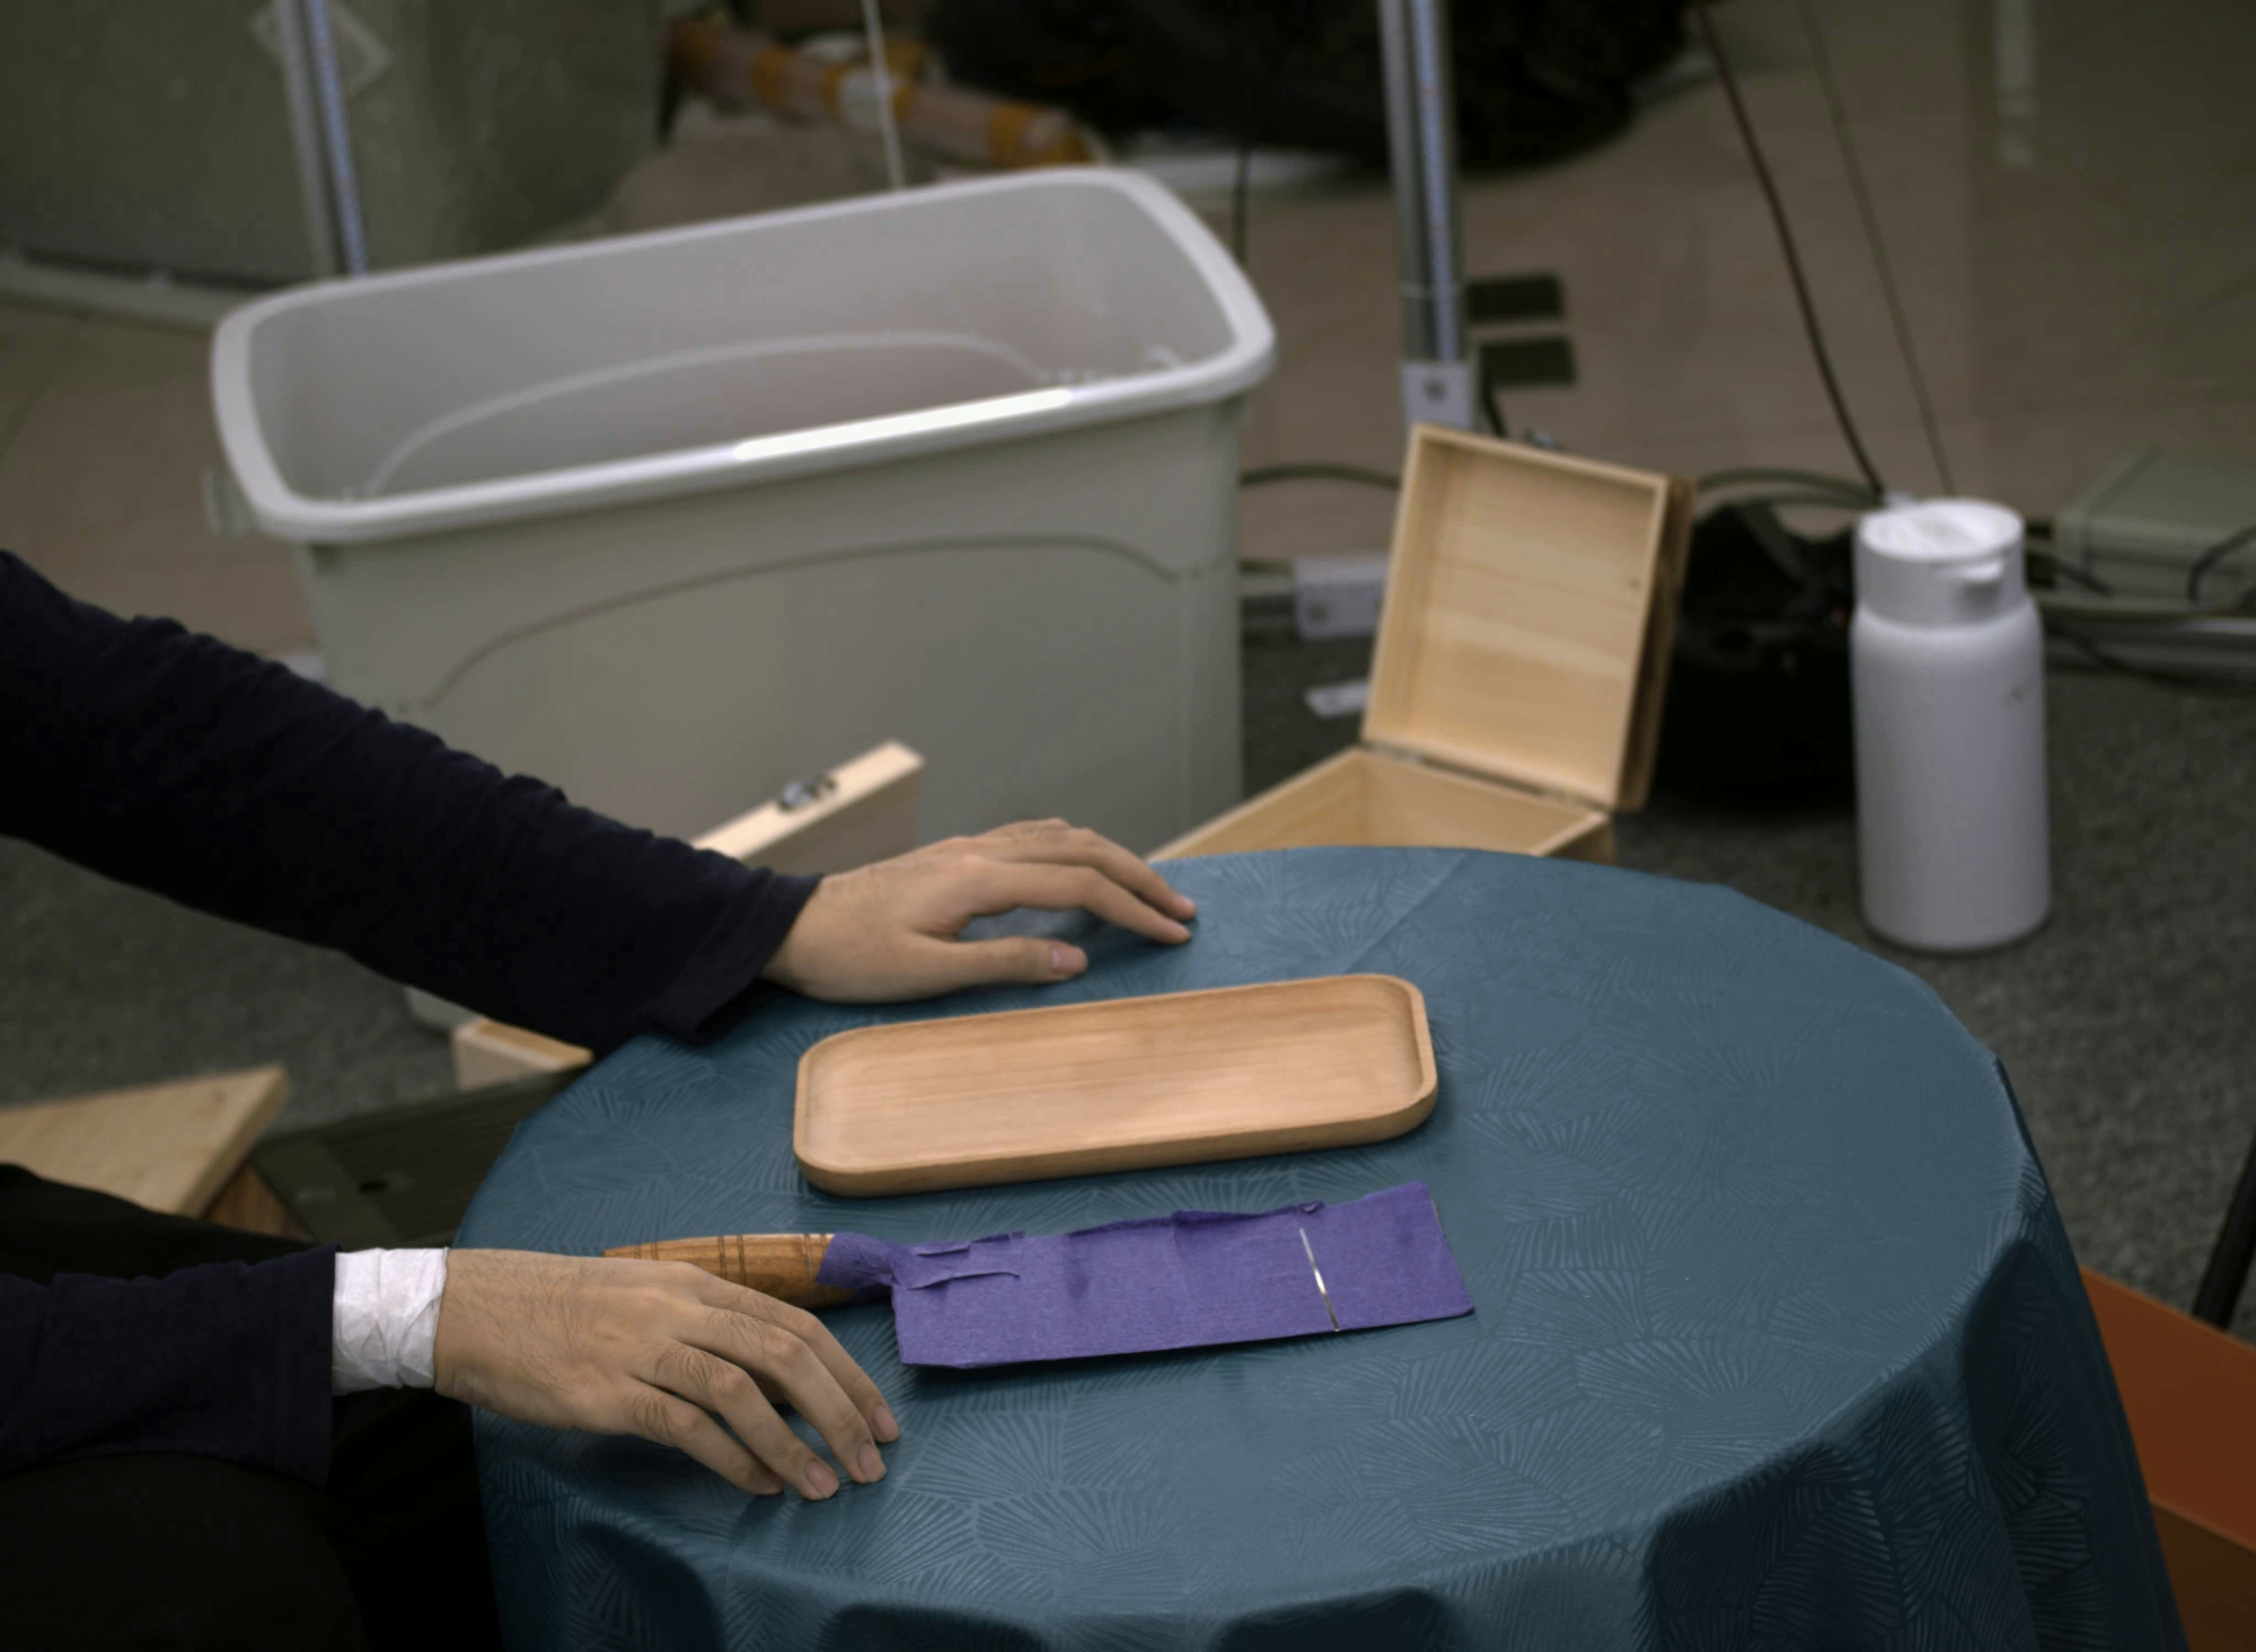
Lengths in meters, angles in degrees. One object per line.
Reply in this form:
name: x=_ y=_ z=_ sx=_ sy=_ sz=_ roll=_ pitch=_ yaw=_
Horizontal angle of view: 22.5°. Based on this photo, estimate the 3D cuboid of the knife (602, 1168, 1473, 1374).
knife: x=-0.034 y=0.167 z=2.068 sx=0.314 sy=0.033 sz=0.102 roll=-8 pitch=25 yaw=-4

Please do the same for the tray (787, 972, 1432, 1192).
tray: x=-0.007 y=0.100 z=2.217 sx=0.250 sy=0.023 sz=0.129 roll=-6 pitch=22 yaw=4
